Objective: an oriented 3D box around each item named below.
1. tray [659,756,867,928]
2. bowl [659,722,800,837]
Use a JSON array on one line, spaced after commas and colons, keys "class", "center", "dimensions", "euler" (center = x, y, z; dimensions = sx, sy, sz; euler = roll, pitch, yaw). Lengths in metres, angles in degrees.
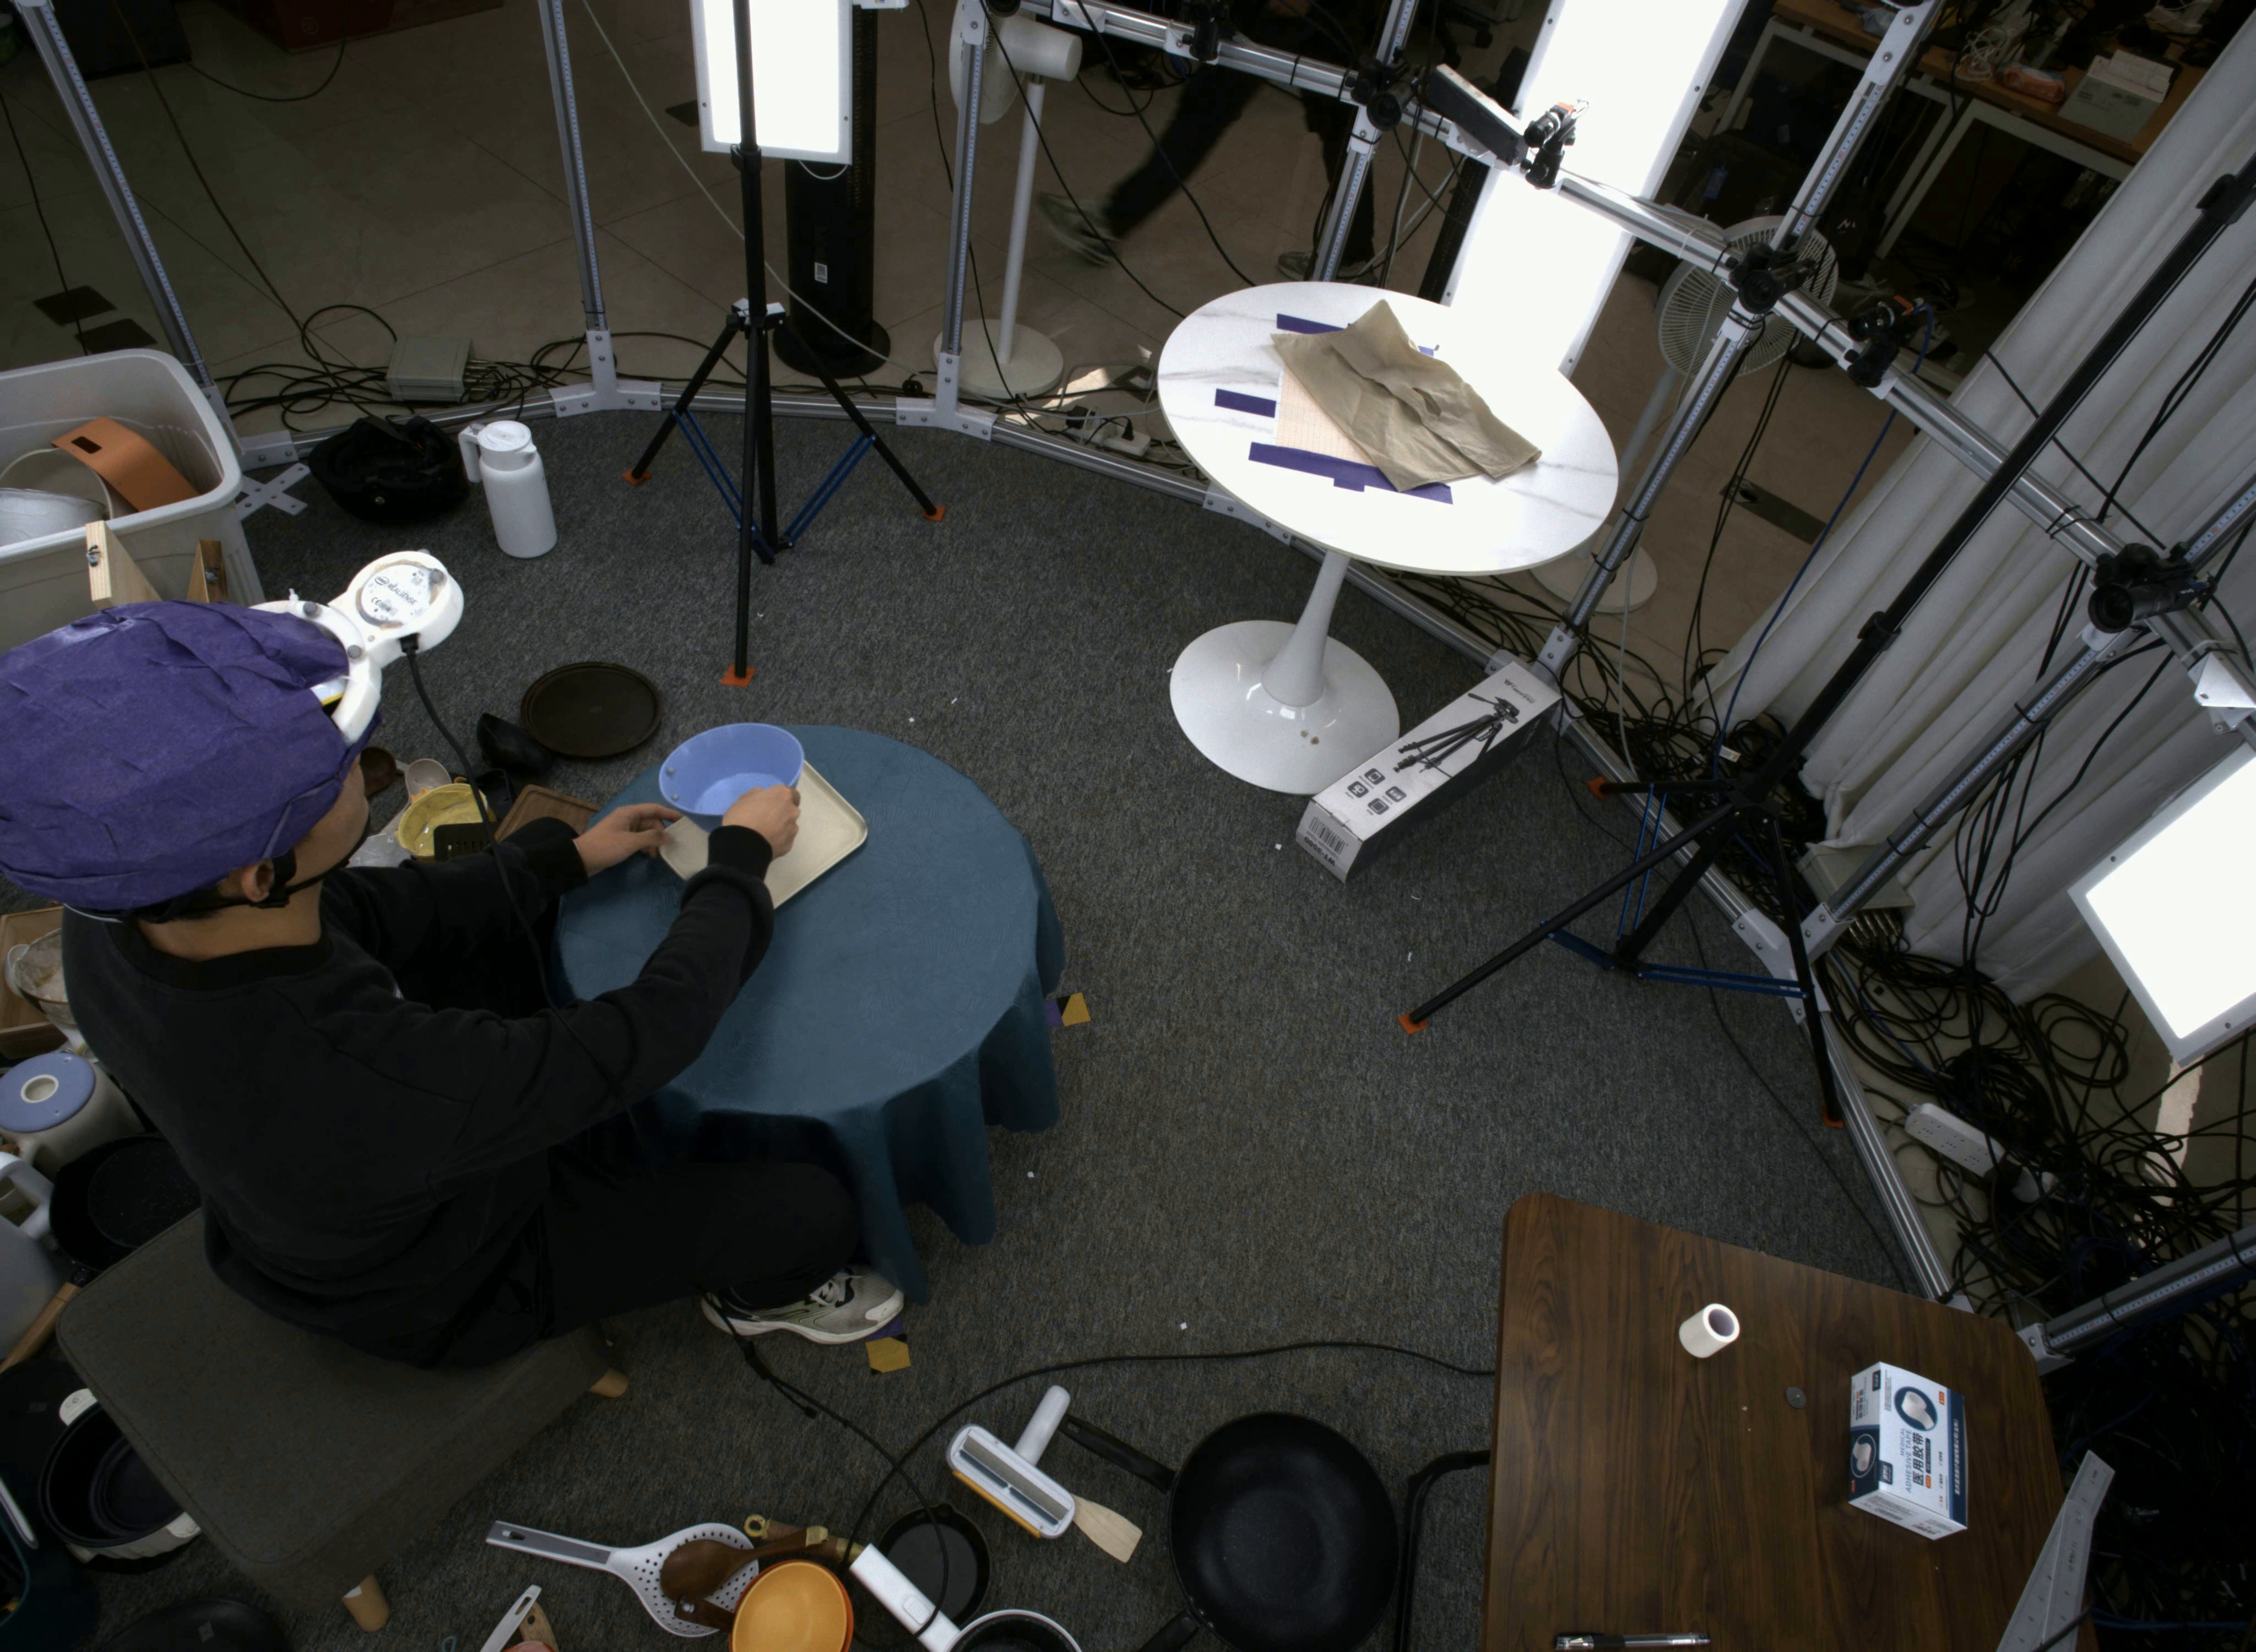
[{"class": "tray", "center": [-0.470, 0.016, 1.676], "dimensions": [0.170, 0.017, 0.240], "euler": [44, 54, 6]}, {"class": "bowl", "center": [-0.484, -0.050, 1.596], "dimensions": [0.174, 0.073, 0.172], "euler": [-1, 42, 3]}]
